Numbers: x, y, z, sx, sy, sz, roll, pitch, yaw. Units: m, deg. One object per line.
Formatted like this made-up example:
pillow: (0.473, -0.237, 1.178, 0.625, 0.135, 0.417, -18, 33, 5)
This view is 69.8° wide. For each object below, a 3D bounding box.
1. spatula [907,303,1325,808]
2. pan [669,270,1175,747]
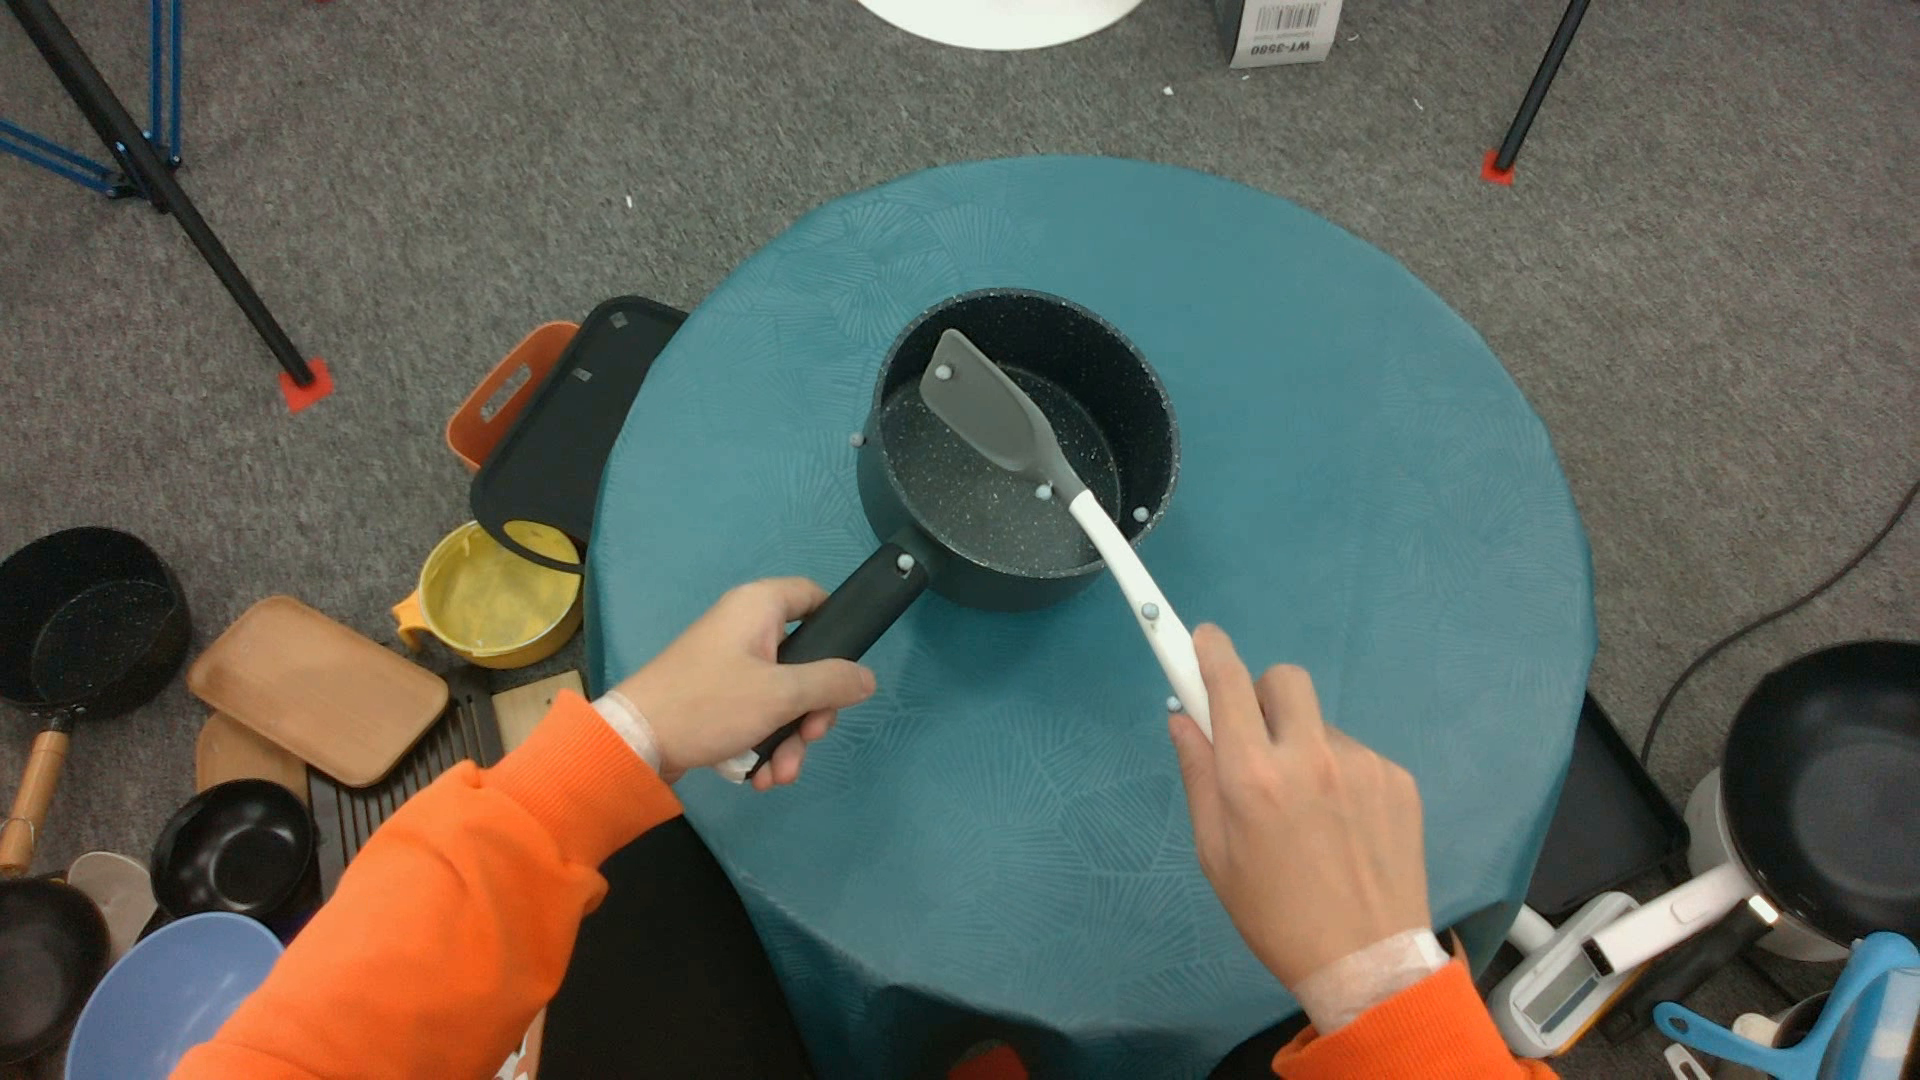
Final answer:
spatula: (0.065, 0.001, 0.647, 0.032, 0.058, 0.288, -21, 62, -33)
pan: (-0.025, -0.006, 0.720, 0.172, 0.086, 0.330, 42, 62, 5)
